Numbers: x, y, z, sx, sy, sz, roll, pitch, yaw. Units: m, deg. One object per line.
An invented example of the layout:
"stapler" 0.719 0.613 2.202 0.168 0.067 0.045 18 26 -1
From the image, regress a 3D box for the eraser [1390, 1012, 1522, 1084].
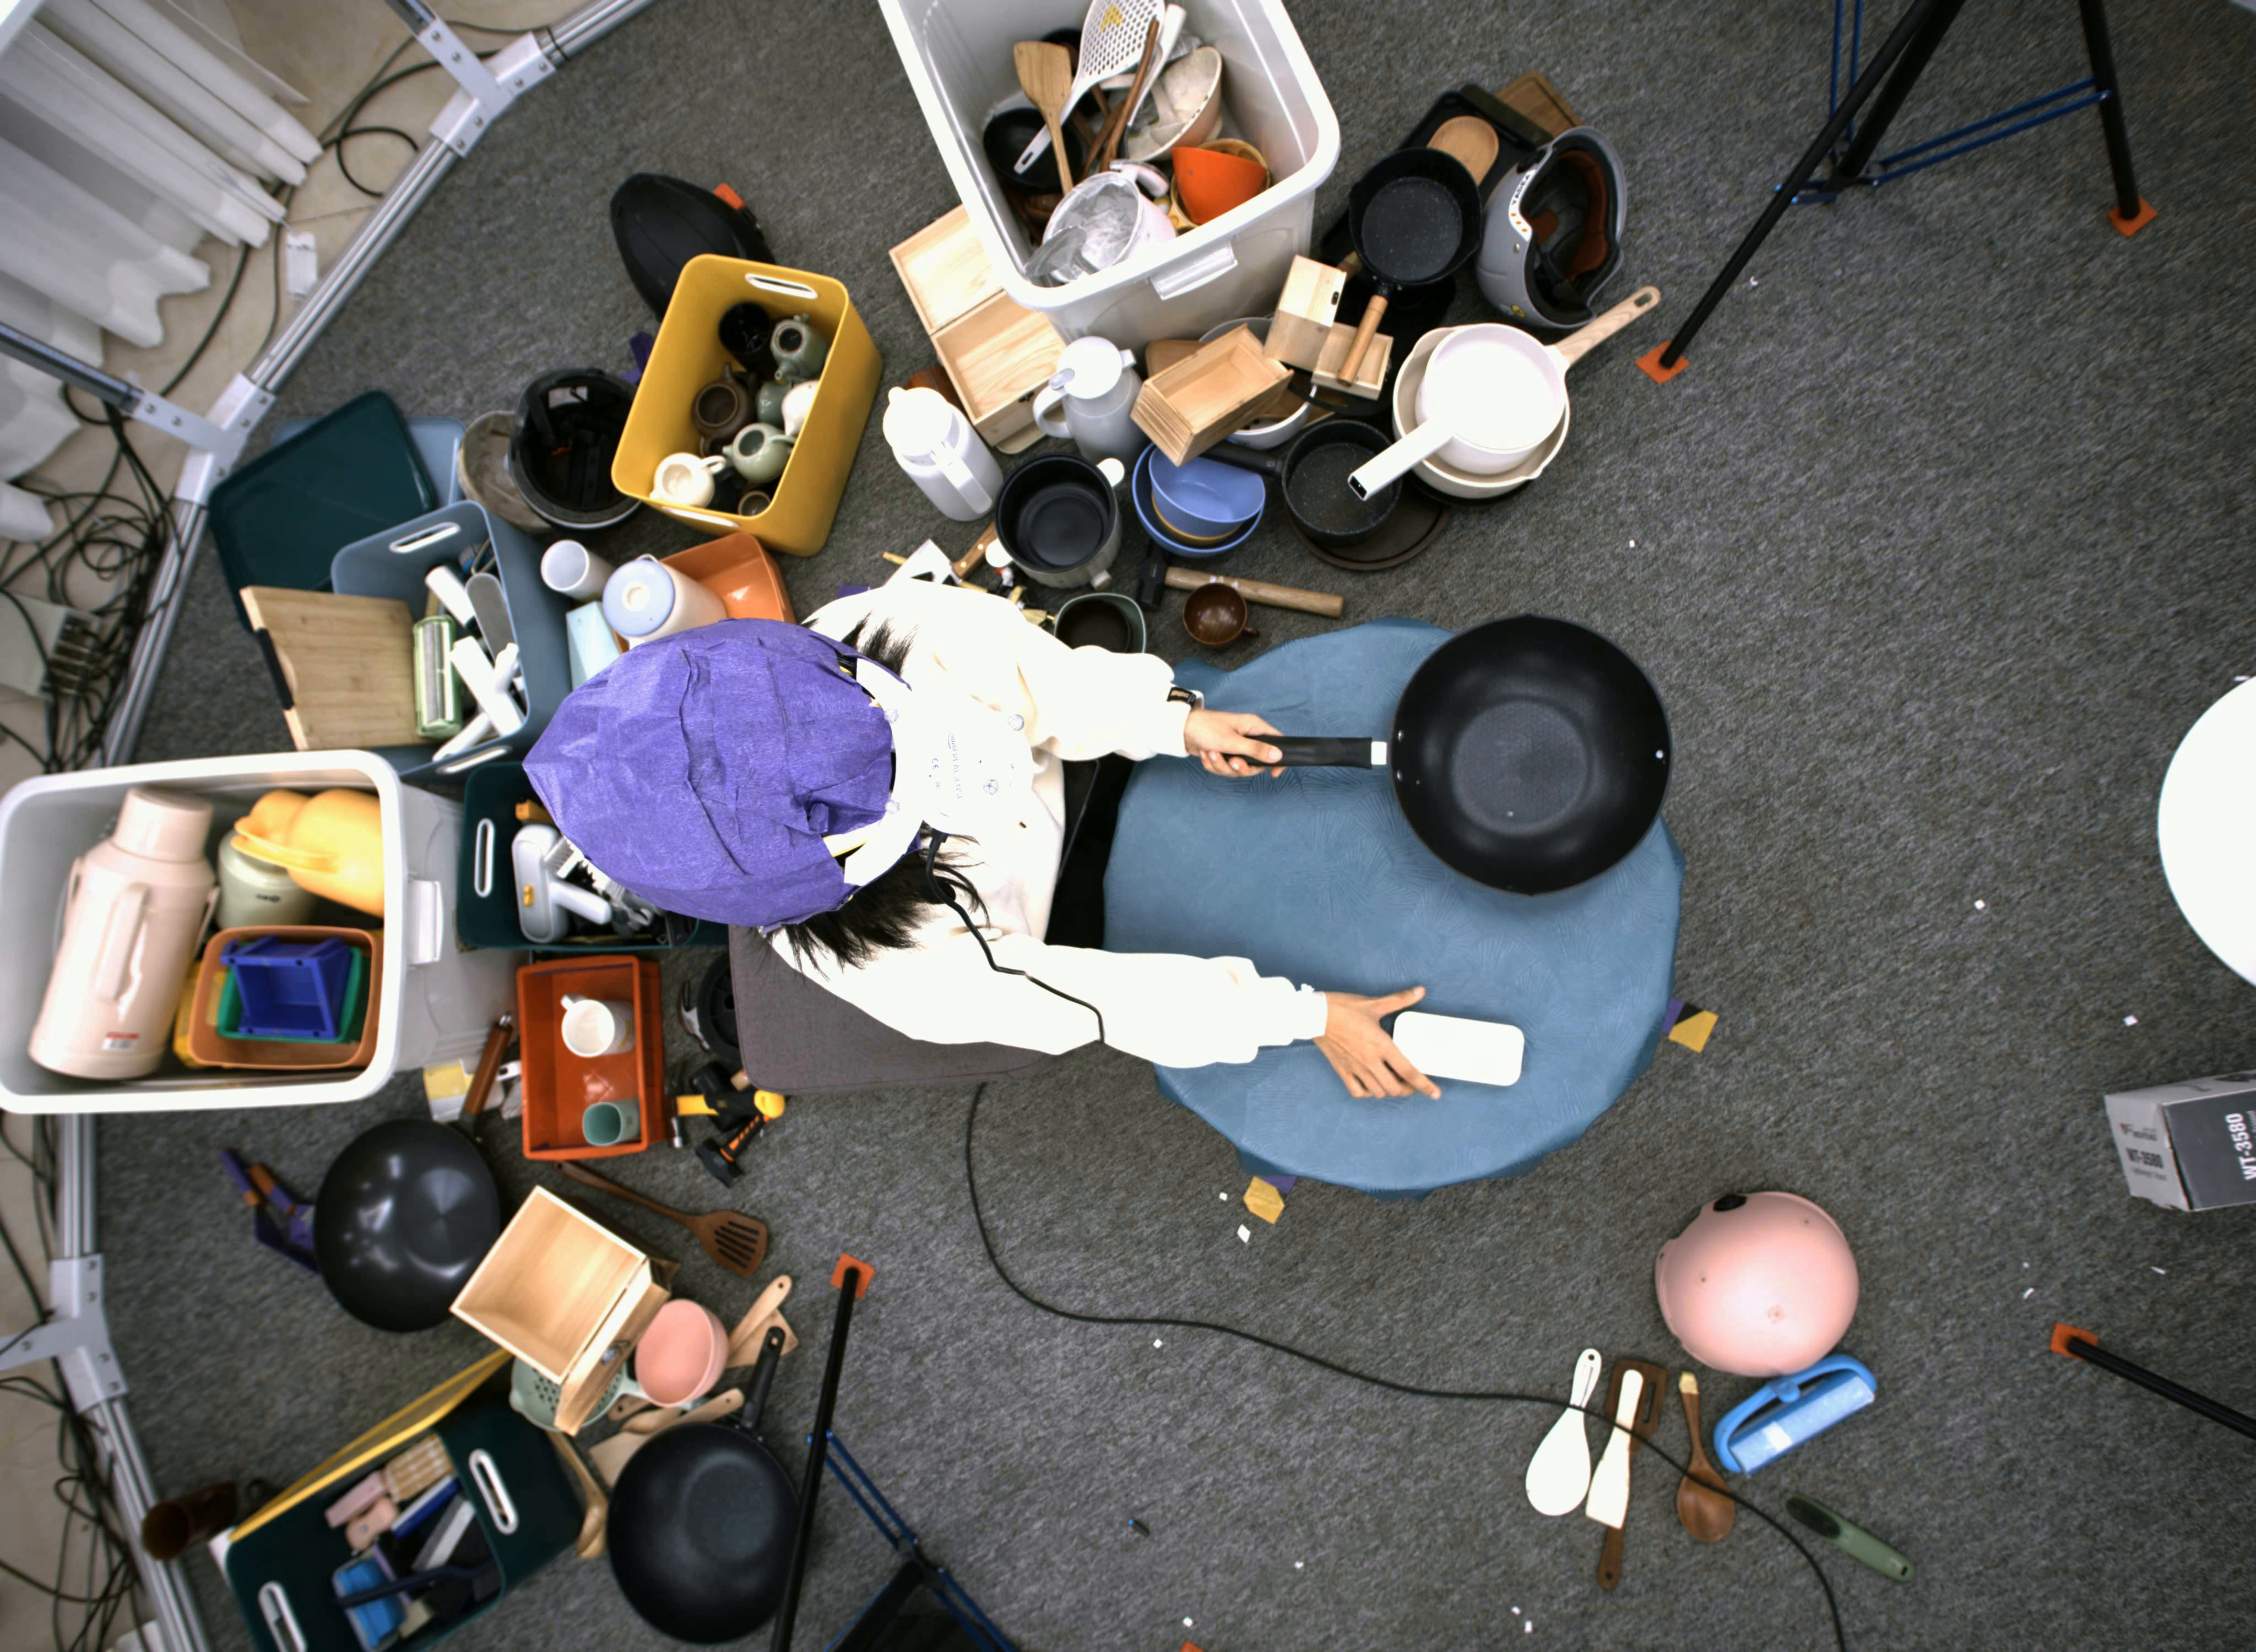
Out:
"eraser" 0.338 0.226 1.424 0.131 0.034 0.063 7 85 10

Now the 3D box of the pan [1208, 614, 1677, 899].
"pan" 0.317 -0.071 1.417 0.465 0.087 0.287 2 87 11
